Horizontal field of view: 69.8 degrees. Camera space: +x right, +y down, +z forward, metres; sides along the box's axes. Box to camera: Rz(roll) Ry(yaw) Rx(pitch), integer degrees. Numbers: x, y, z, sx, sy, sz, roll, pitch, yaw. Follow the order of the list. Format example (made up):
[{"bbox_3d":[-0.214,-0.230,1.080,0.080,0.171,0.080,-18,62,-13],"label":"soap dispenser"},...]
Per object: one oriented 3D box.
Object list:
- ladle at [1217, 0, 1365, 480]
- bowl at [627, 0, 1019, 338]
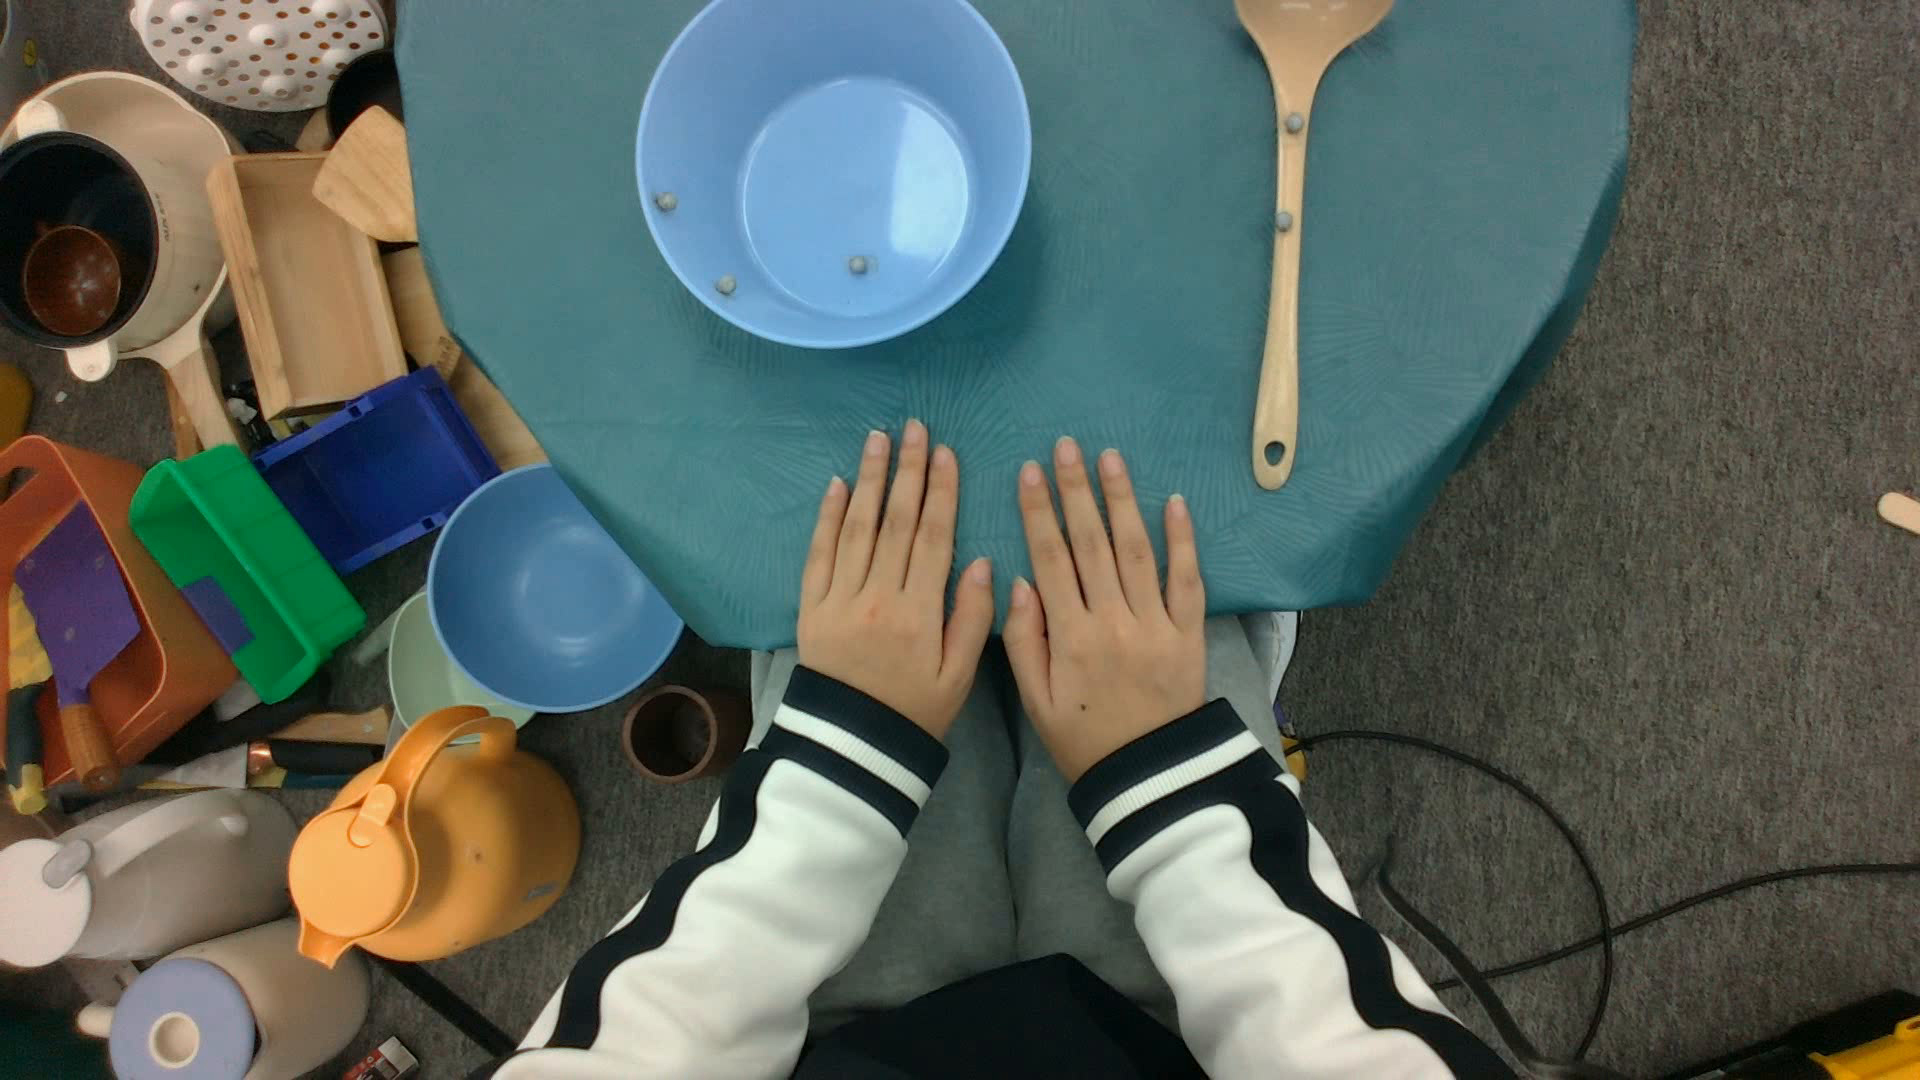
[{"bbox_3d":[0.149,-0.157,0.616,0.072,0.073,0.254,2,85,-1],"label":"ladle"},{"bbox_3d":[-0.058,-0.172,0.637,0.176,0.070,0.176,-1,84,6],"label":"bowl"}]
